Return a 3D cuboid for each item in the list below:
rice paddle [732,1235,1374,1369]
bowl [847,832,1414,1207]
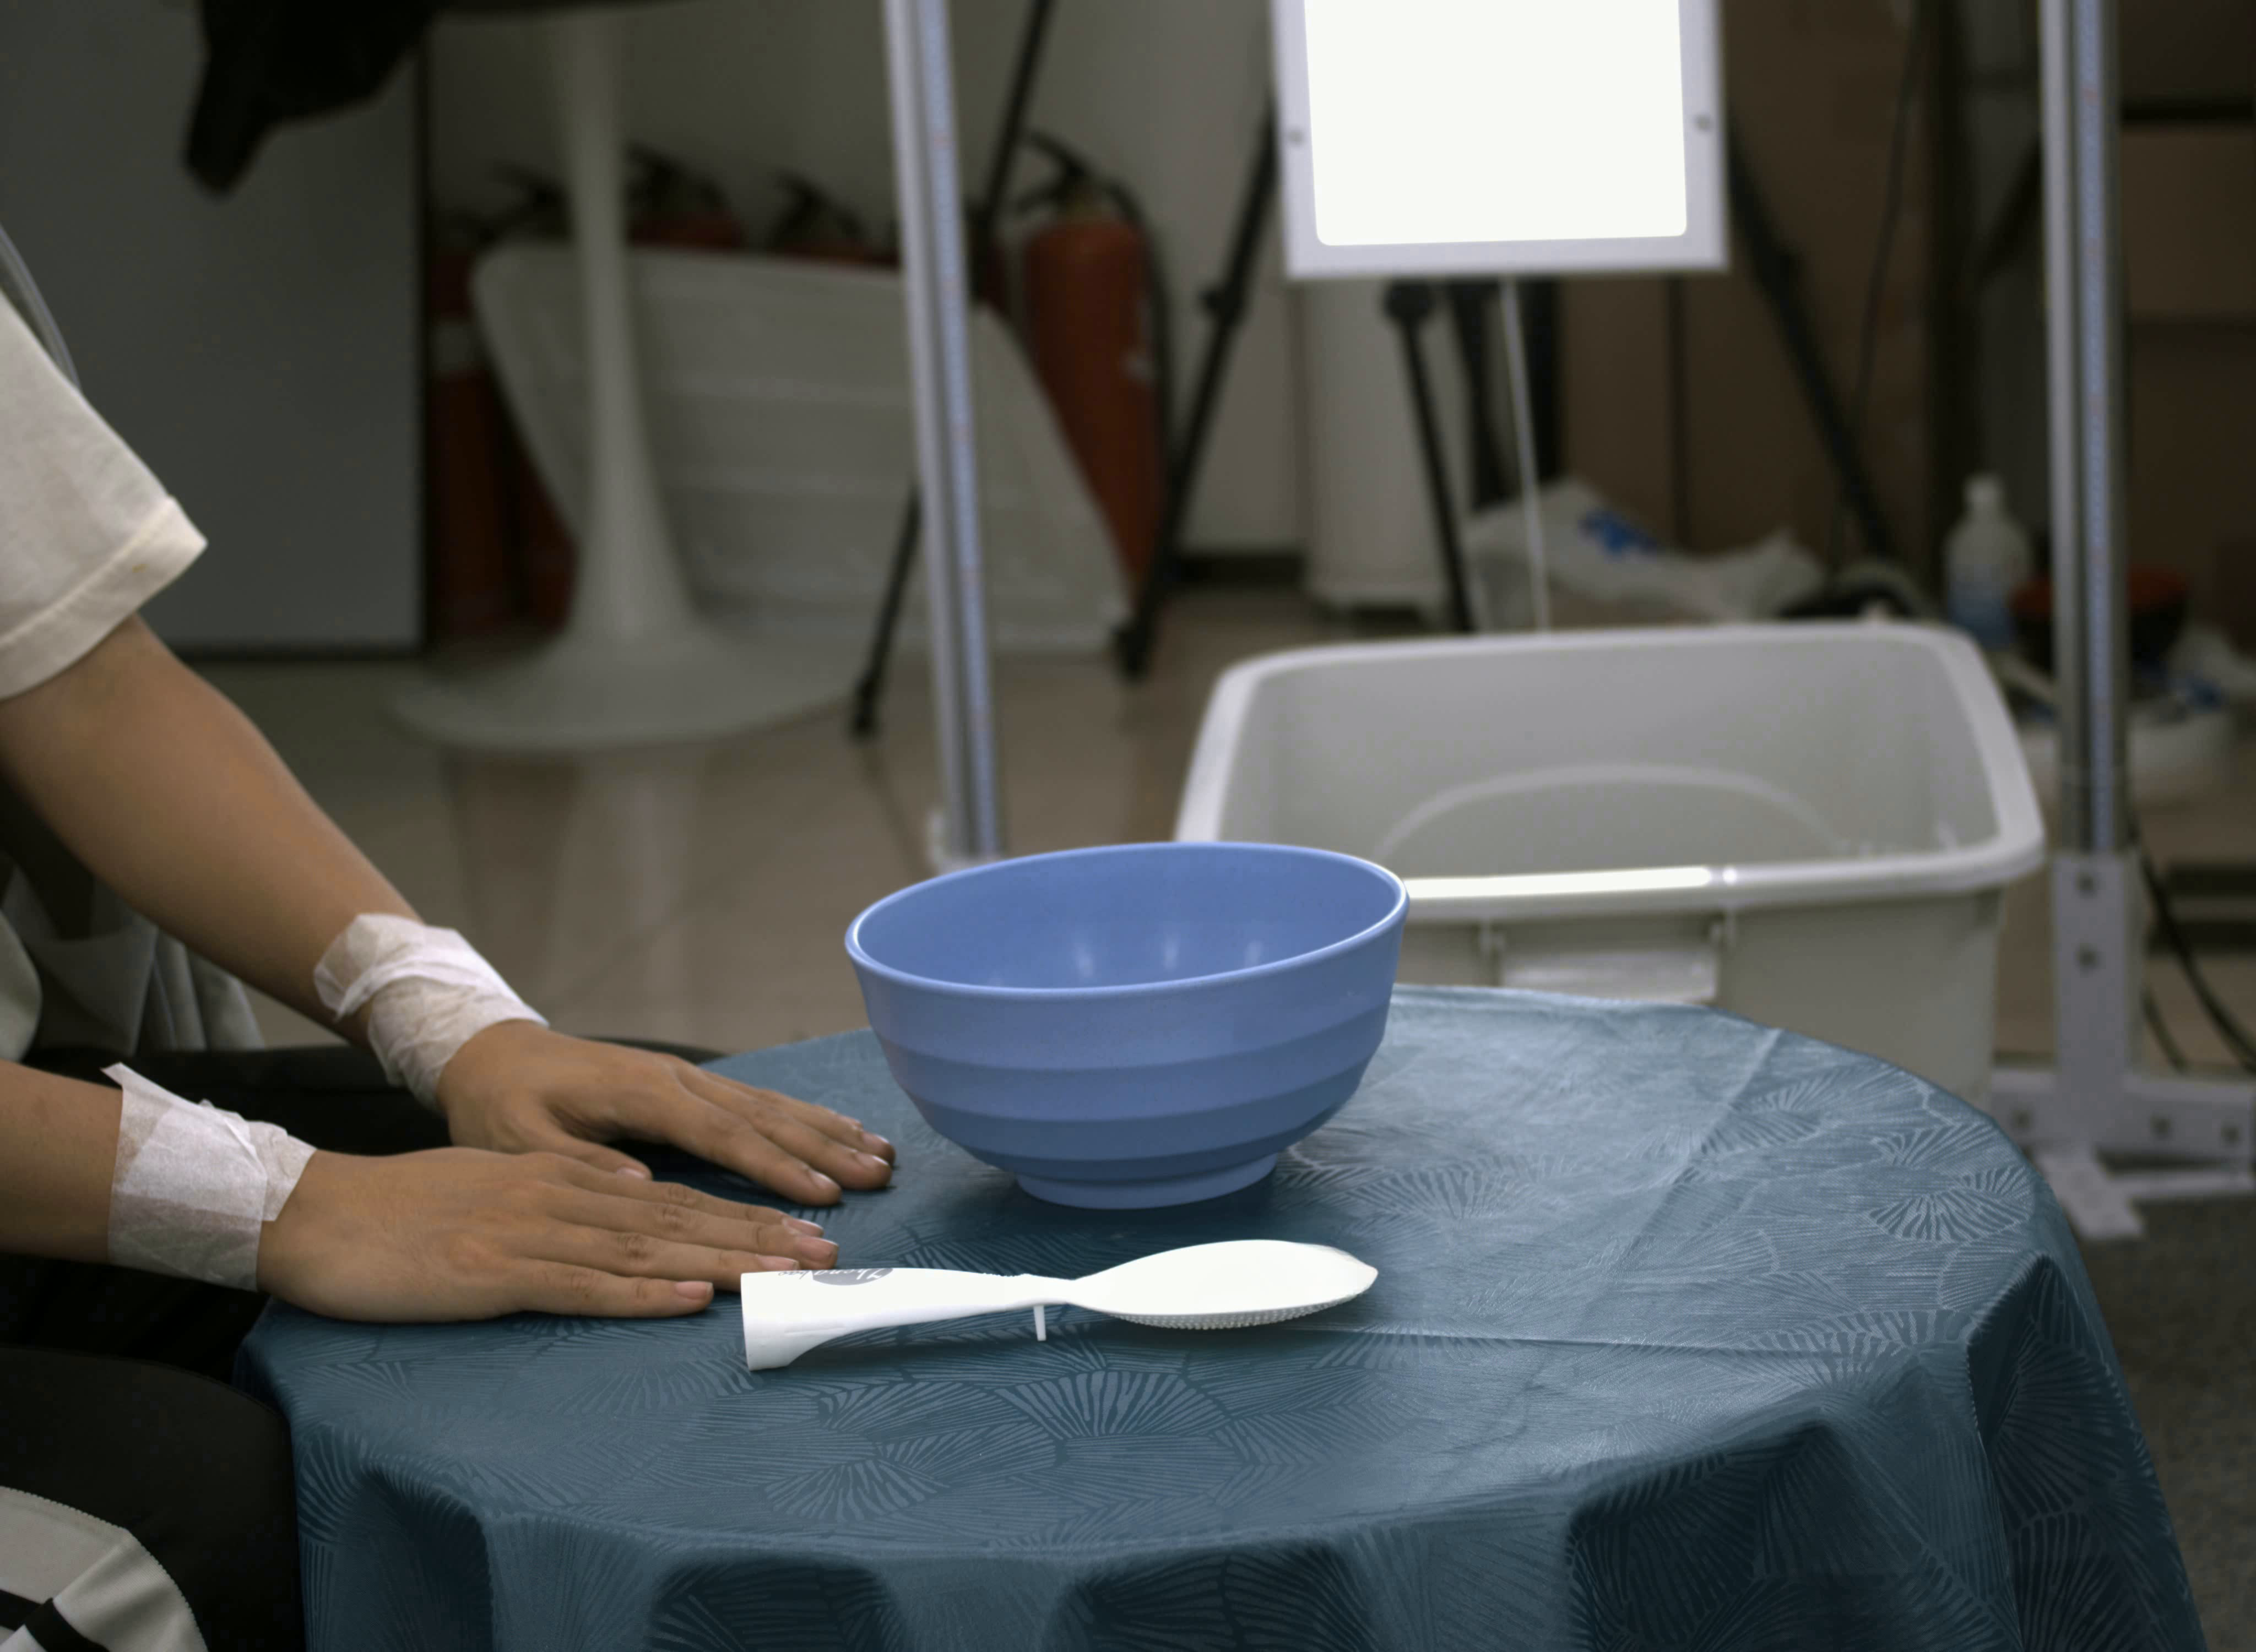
[{"bbox_3d":[-0.023,0.148,1.754,0.204,0.029,0.069,-5,15,0],"label":"rice paddle"},{"bbox_3d":[0.002,0.073,1.910,0.196,0.096,0.196,-3,15,-1],"label":"bowl"}]
